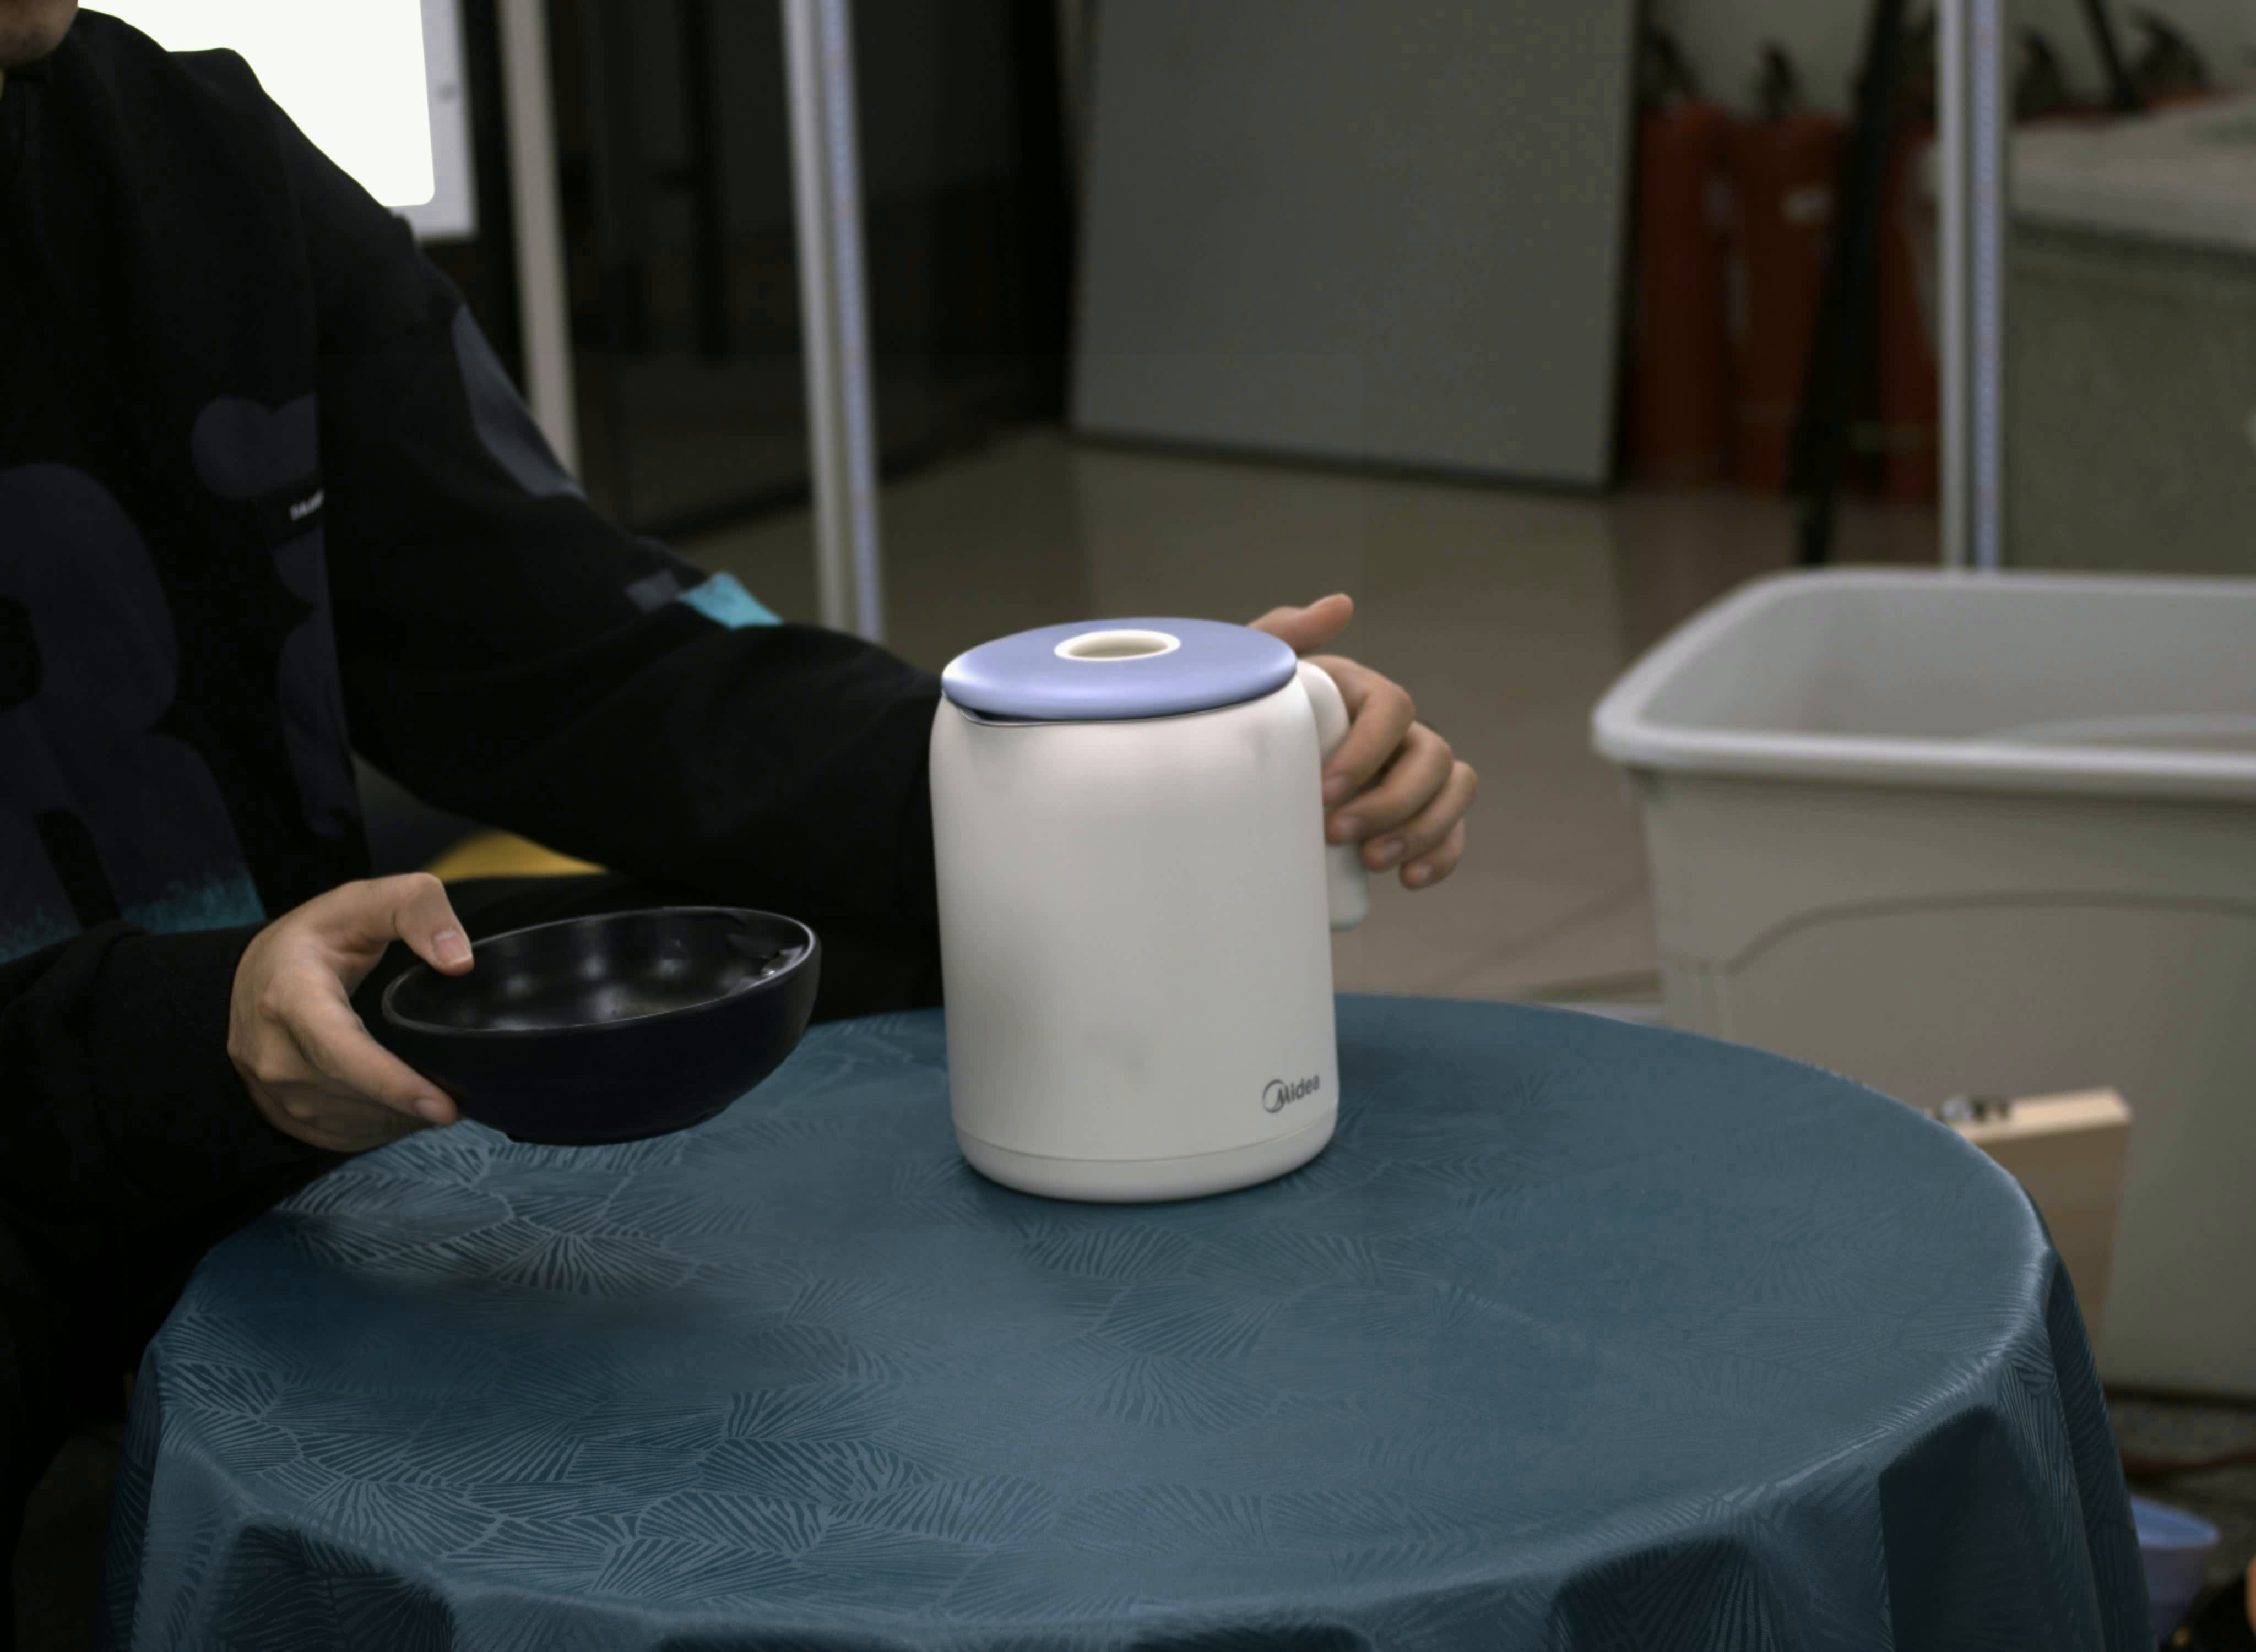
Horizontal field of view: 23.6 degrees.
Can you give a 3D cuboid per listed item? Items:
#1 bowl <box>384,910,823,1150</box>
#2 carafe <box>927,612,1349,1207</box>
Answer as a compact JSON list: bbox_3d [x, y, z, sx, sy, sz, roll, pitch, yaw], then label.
[{"bbox_3d":[-0.159,0.067,1.683,0.138,0.050,0.140,-8,11,1],"label":"bowl"},{"bbox_3d":[0.016,0.022,1.811,0.133,0.184,0.187,9,16,39],"label":"carafe"}]
